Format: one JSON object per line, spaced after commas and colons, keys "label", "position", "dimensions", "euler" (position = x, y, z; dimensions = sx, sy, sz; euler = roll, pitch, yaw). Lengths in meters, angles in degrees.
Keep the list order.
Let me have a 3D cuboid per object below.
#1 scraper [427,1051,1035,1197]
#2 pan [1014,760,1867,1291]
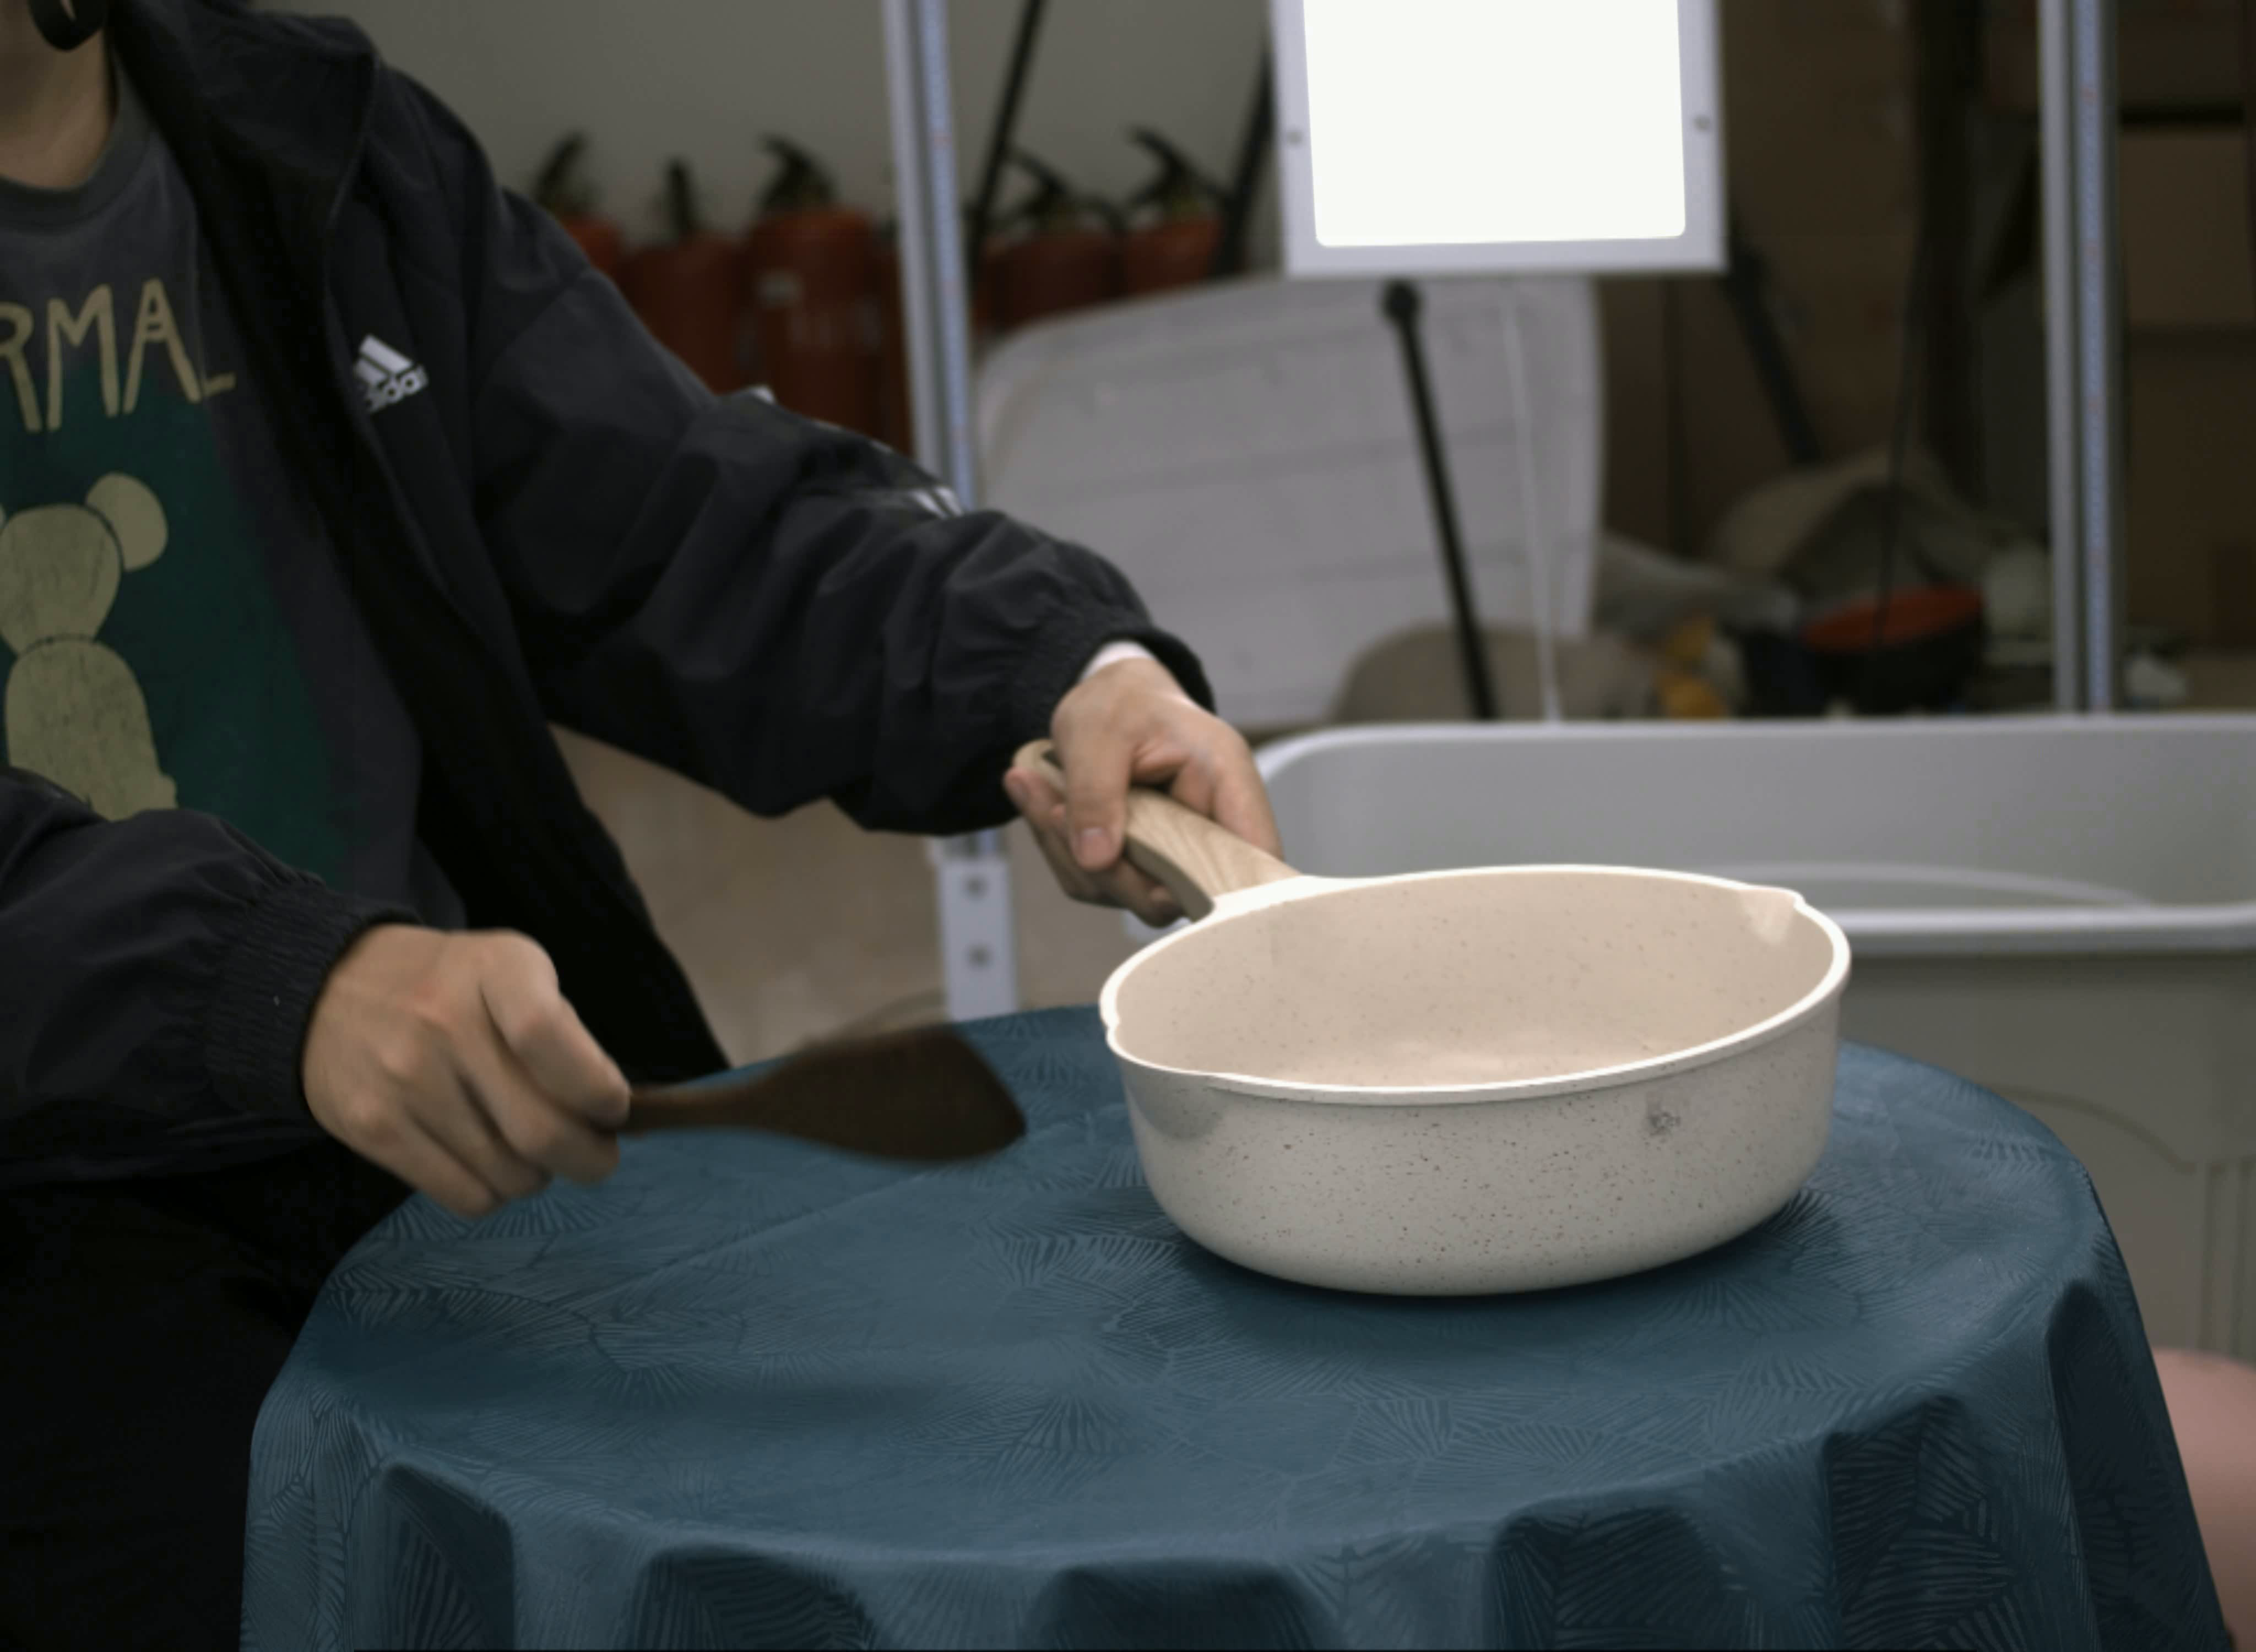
{"label": "scraper", "position": [-0.132, 0.097, 1.753], "dimensions": [0.215, 0.075, 0.011], "euler": [-2, 54, 29]}
{"label": "pan", "position": [0.079, 0.061, 1.914], "dimensions": [0.258, 0.102, 0.442], "euler": [-15, 17, -25]}
